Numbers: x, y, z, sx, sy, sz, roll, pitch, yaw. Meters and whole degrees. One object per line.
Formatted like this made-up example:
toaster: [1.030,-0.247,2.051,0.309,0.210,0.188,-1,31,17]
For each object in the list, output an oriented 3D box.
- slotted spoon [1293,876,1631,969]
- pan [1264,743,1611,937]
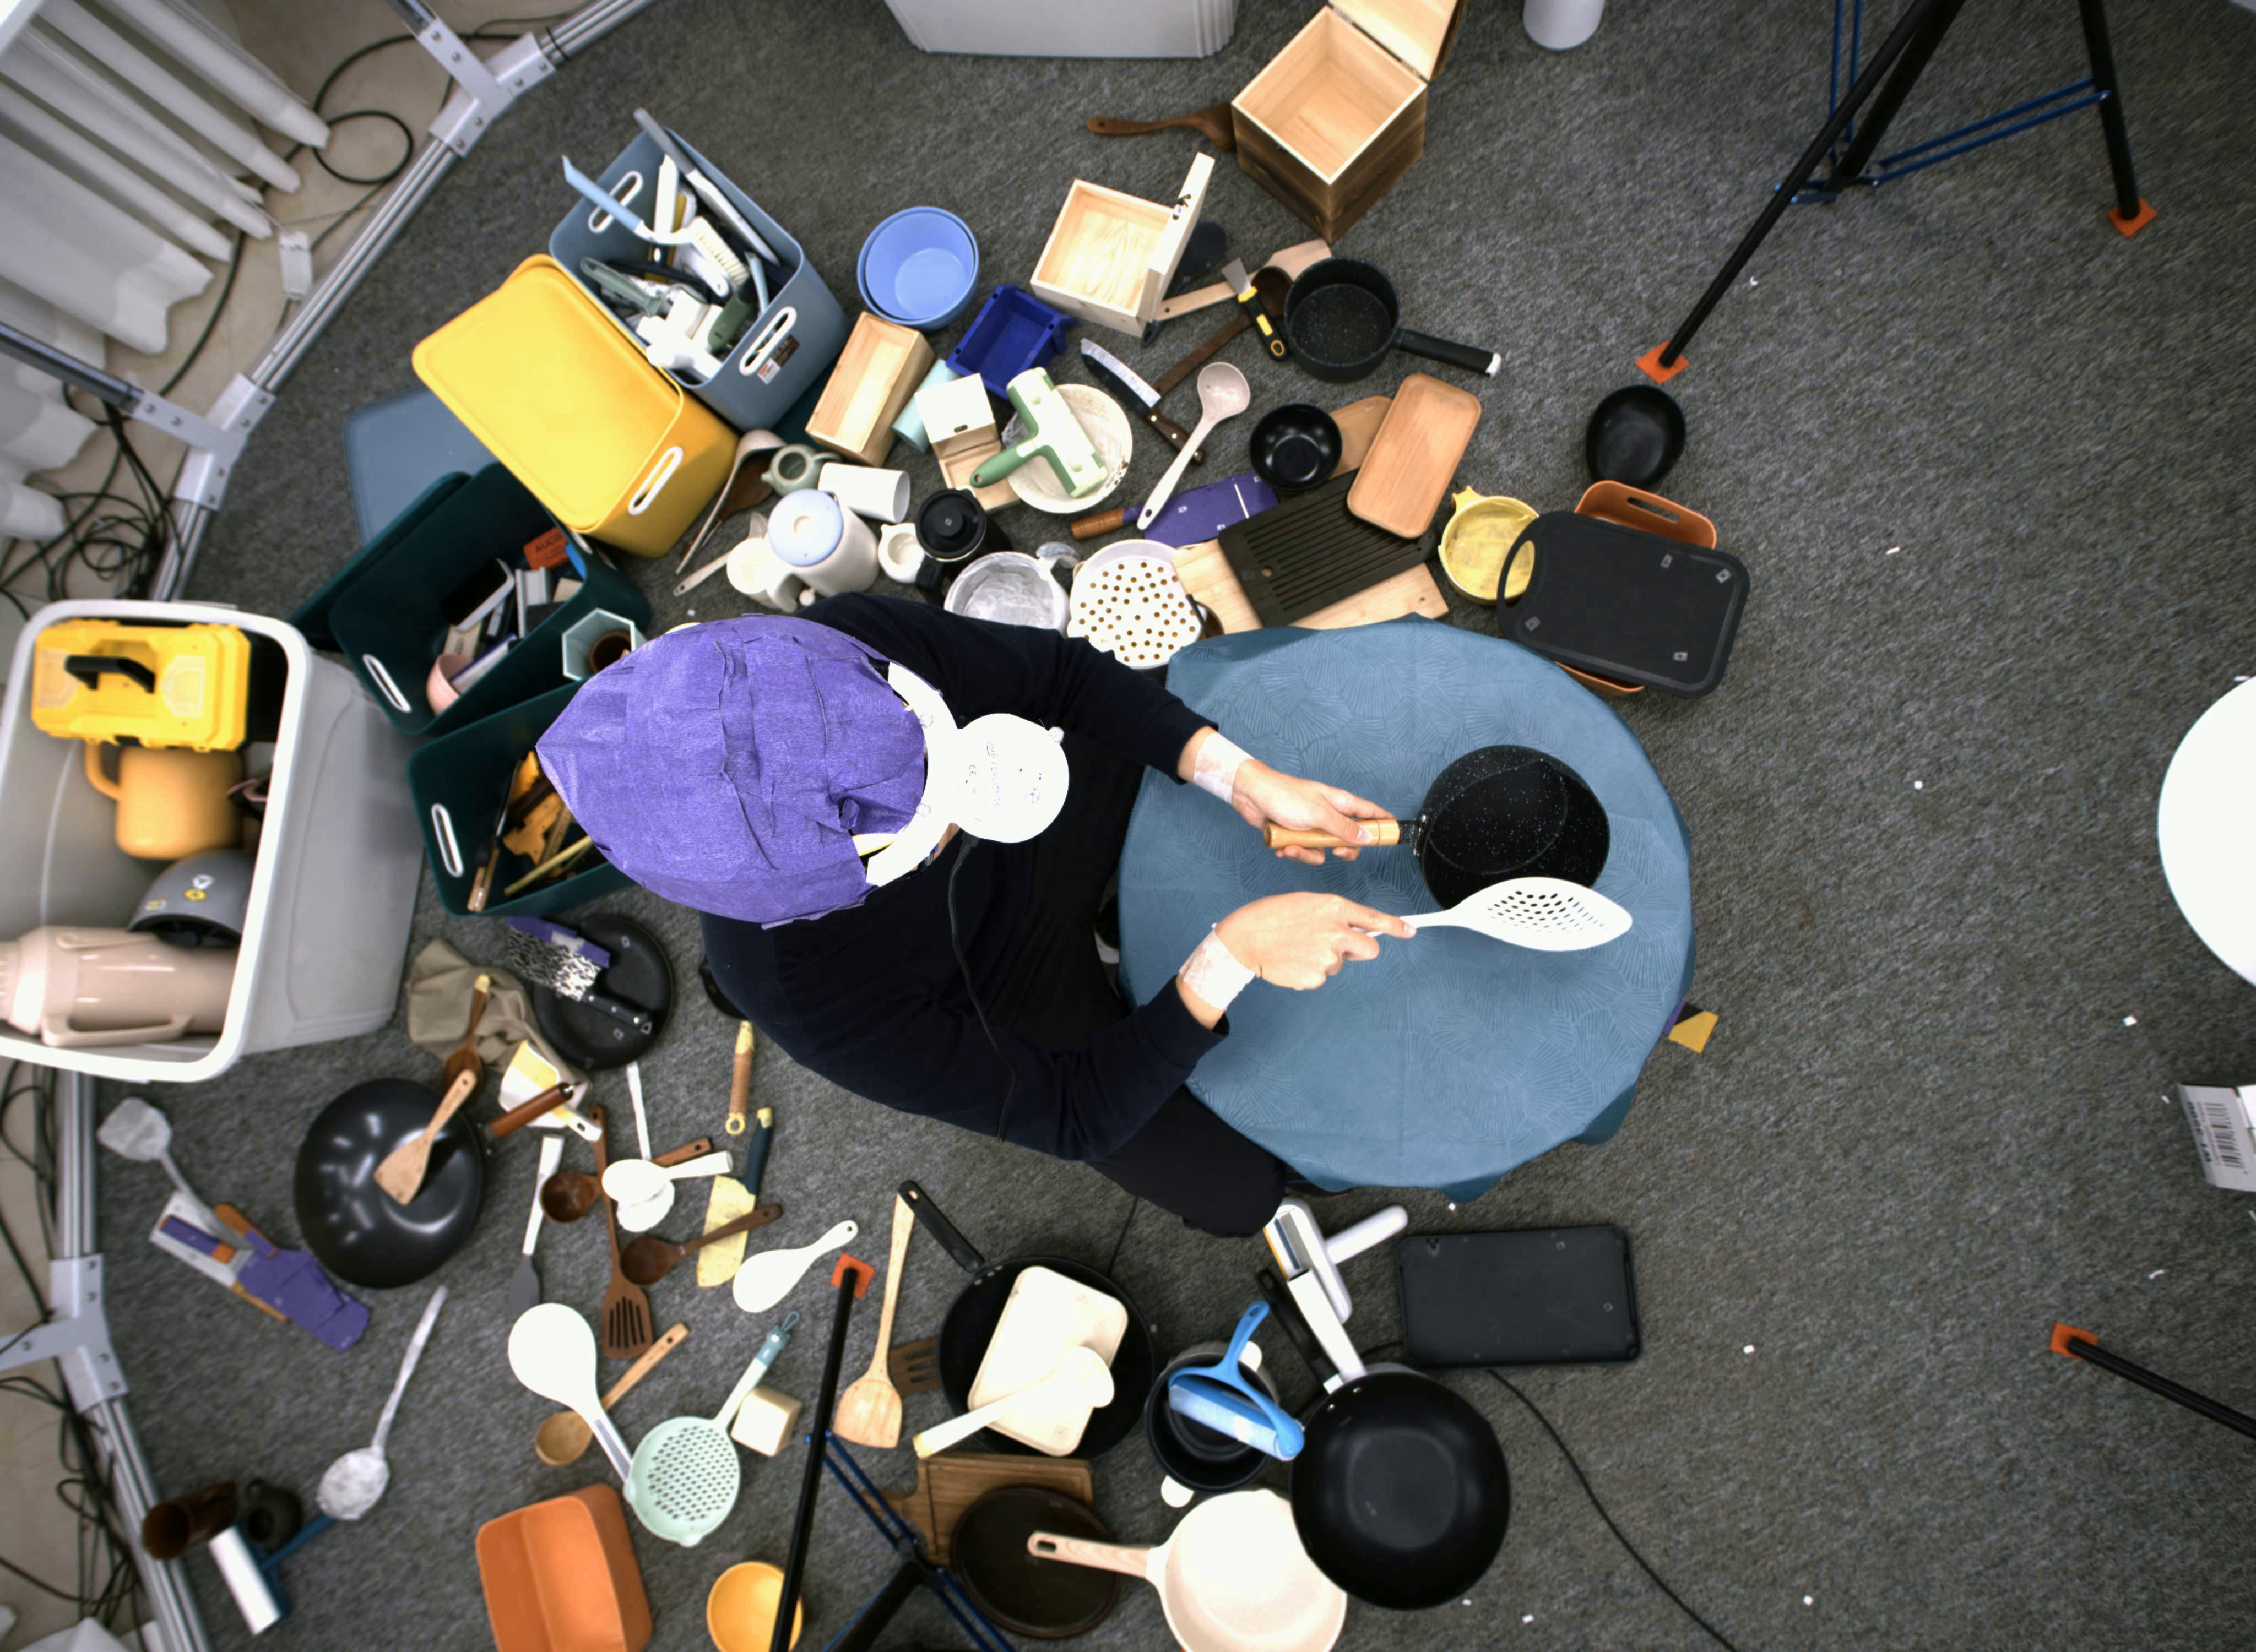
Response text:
slotted spoon: [0.305,0.095,1.276,0.346,0.135,0.051,-1,113,-23]
pan: [0.296,0.002,1.353,0.343,0.105,0.212,4,122,-4]
